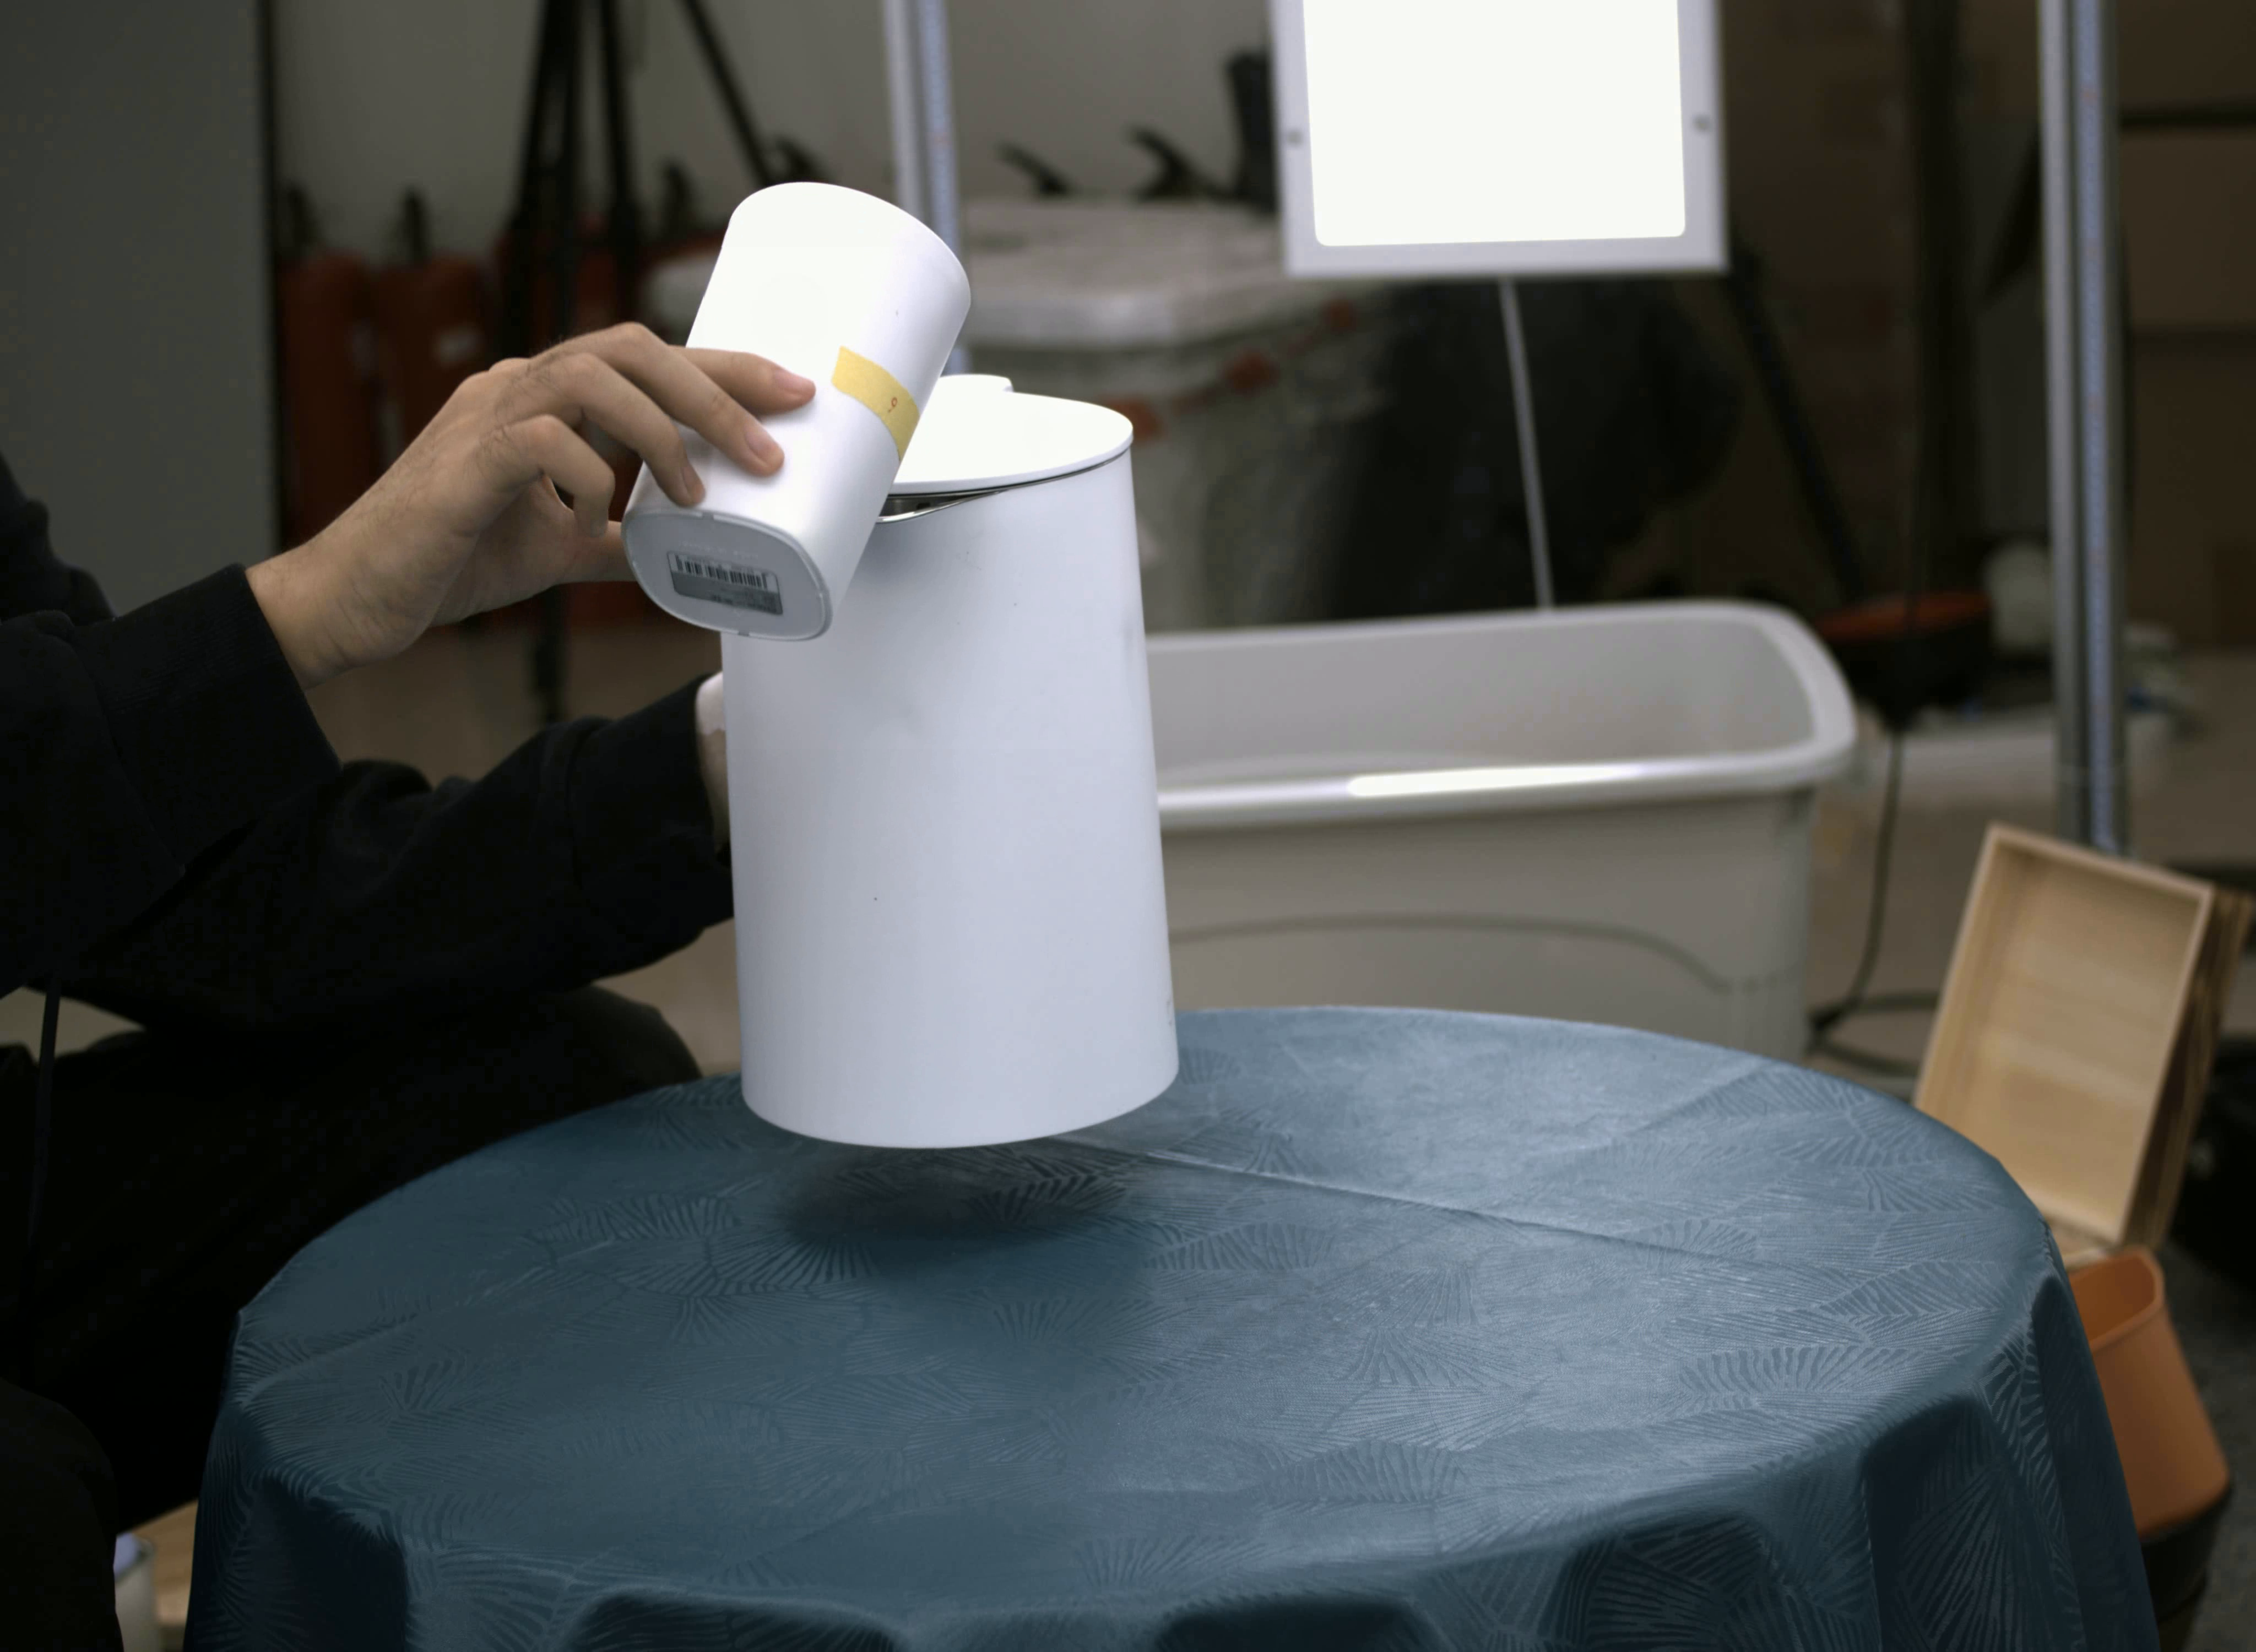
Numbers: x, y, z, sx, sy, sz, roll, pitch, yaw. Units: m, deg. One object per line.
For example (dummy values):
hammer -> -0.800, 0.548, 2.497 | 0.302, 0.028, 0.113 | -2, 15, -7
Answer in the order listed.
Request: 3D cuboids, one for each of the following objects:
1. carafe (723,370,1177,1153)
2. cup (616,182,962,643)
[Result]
carafe -> -0.059, -0.029, 1.904 | 0.153, 0.241, 0.211 | 0, 17, 9
cup -> -0.107, -0.126, 1.710 | 0.083, 0.081, 0.124 | 2, 56, 26
